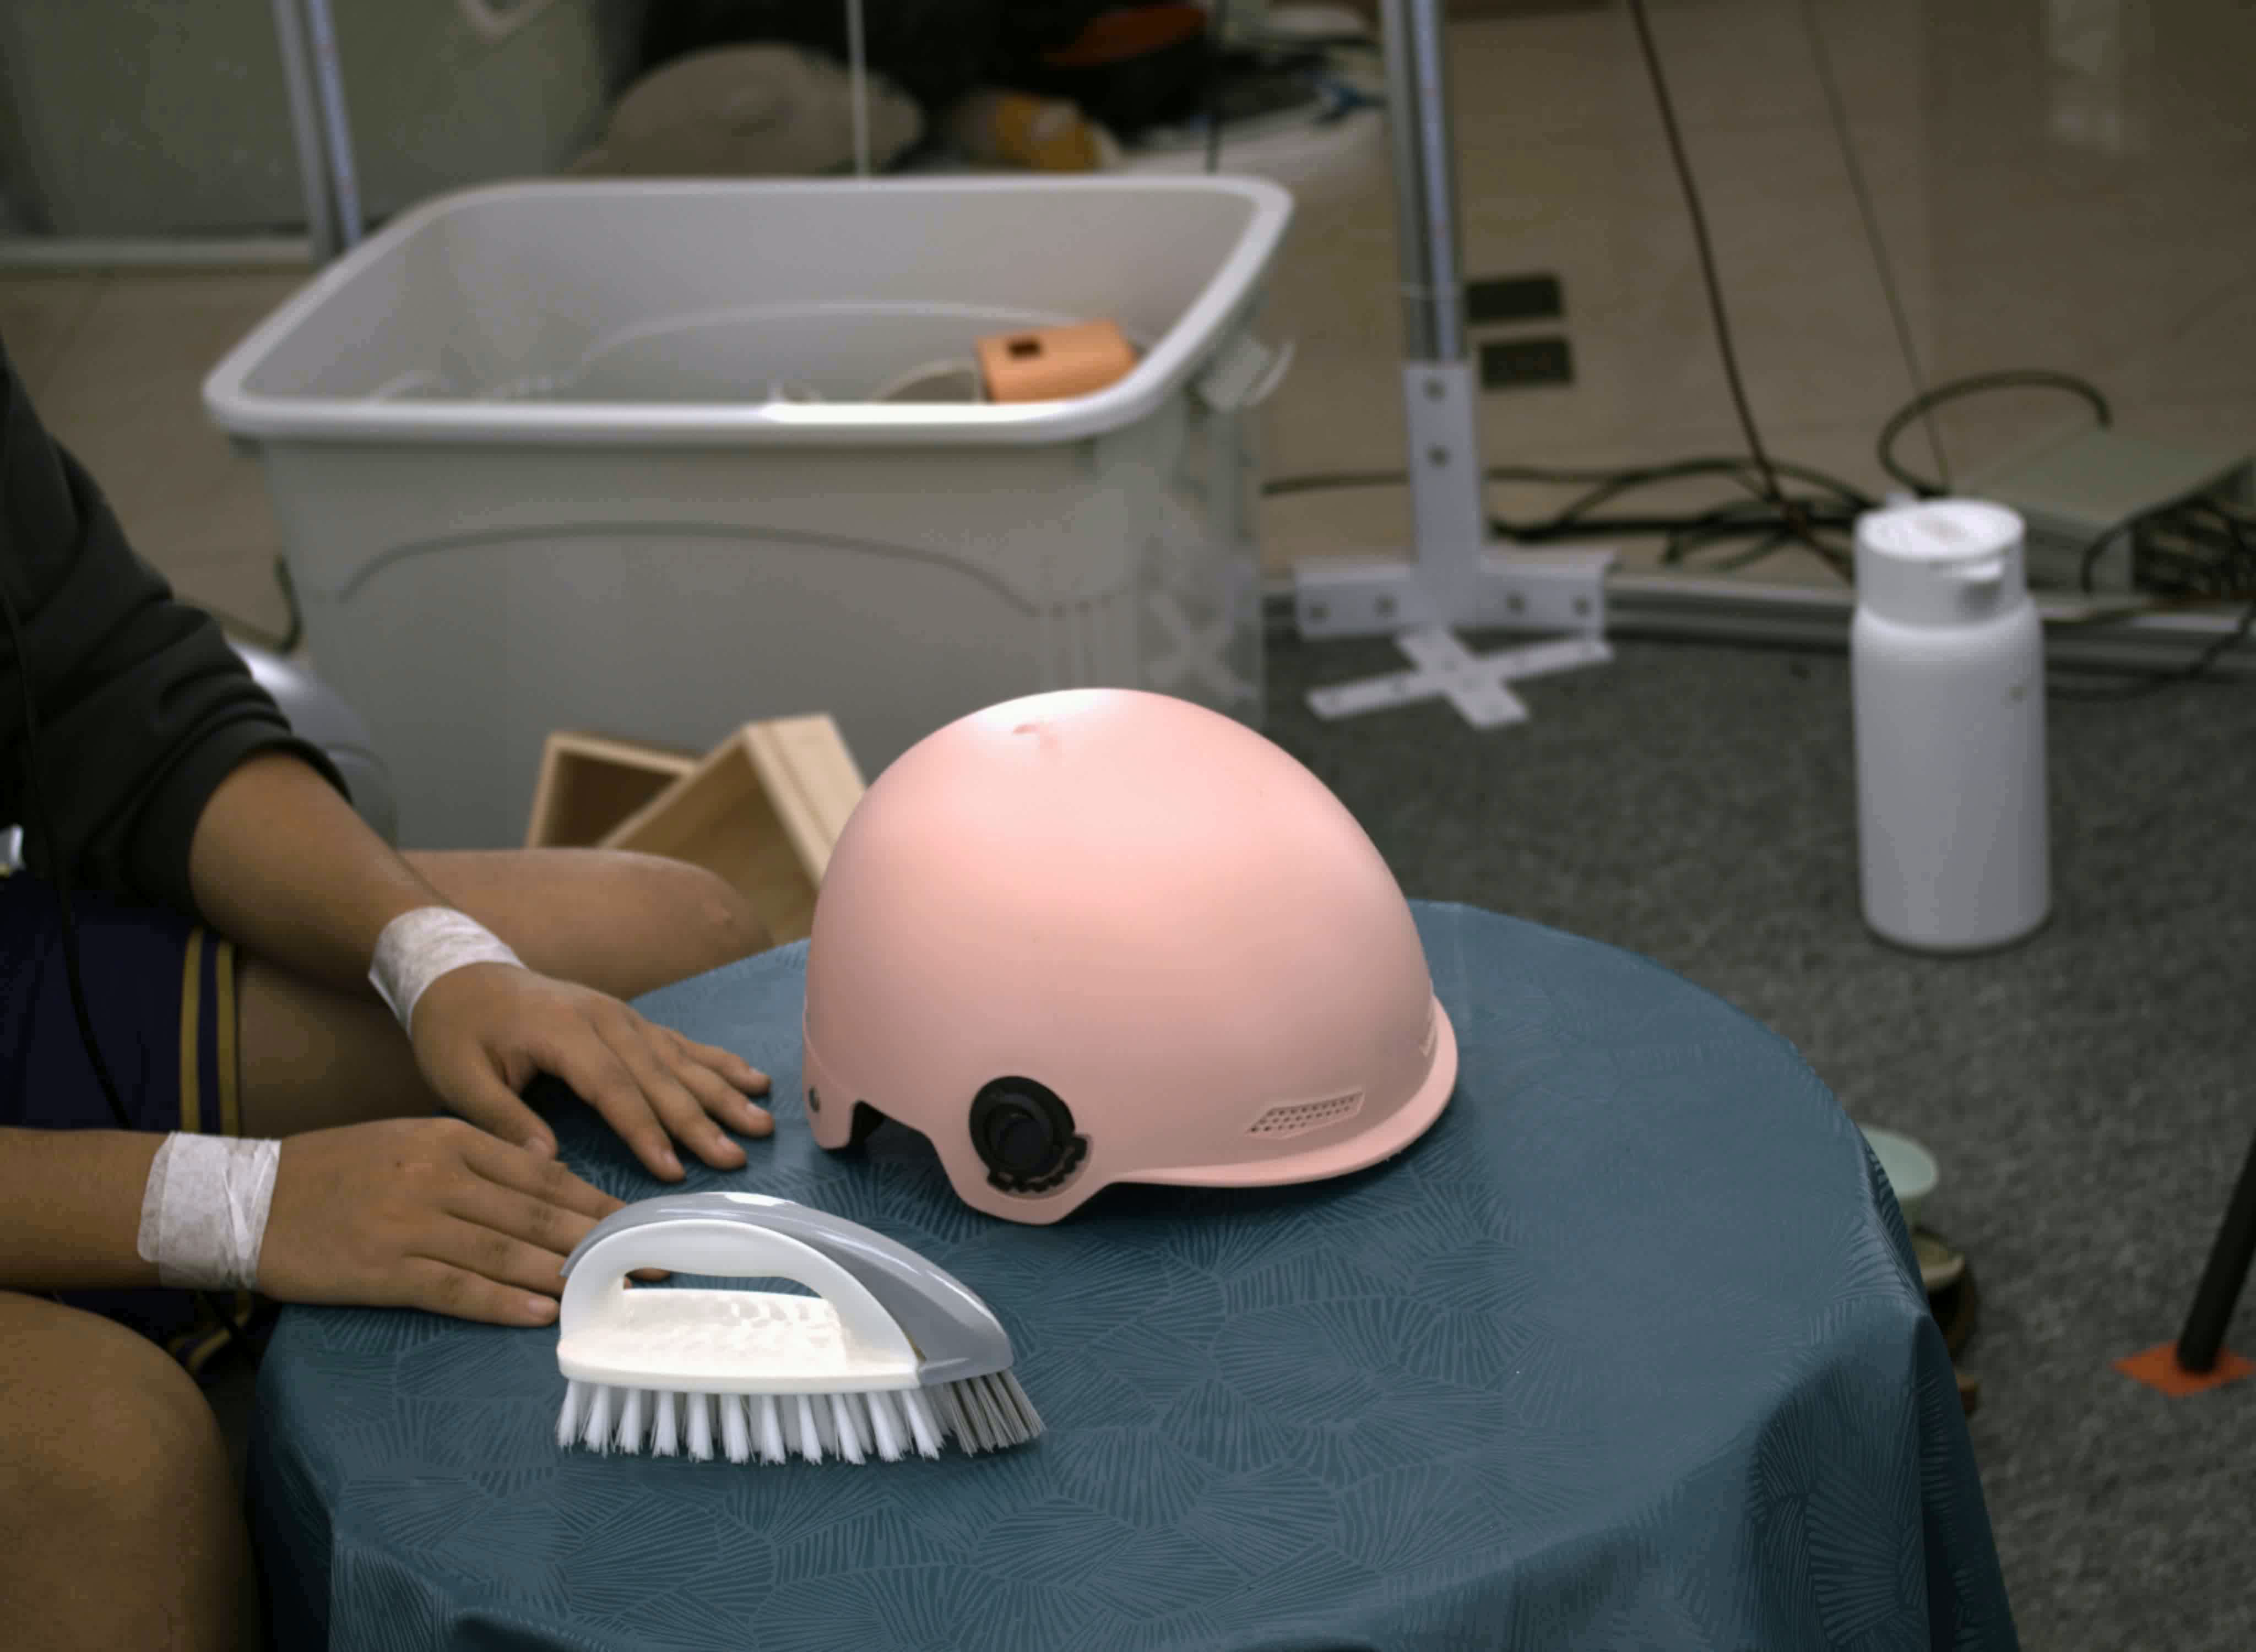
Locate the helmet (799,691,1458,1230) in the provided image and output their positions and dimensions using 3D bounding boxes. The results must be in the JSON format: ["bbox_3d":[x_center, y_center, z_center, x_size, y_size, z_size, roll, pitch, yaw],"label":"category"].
[{"bbox_3d":[-0.003,0.036,2.187,0.264,0.161,0.231,15,32,30],"label":"helmet"}]

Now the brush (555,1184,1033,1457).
[{"bbox_3d":[-0.120,0.171,1.998,0.175,0.096,0.060,4,28,17],"label":"brush"}]
